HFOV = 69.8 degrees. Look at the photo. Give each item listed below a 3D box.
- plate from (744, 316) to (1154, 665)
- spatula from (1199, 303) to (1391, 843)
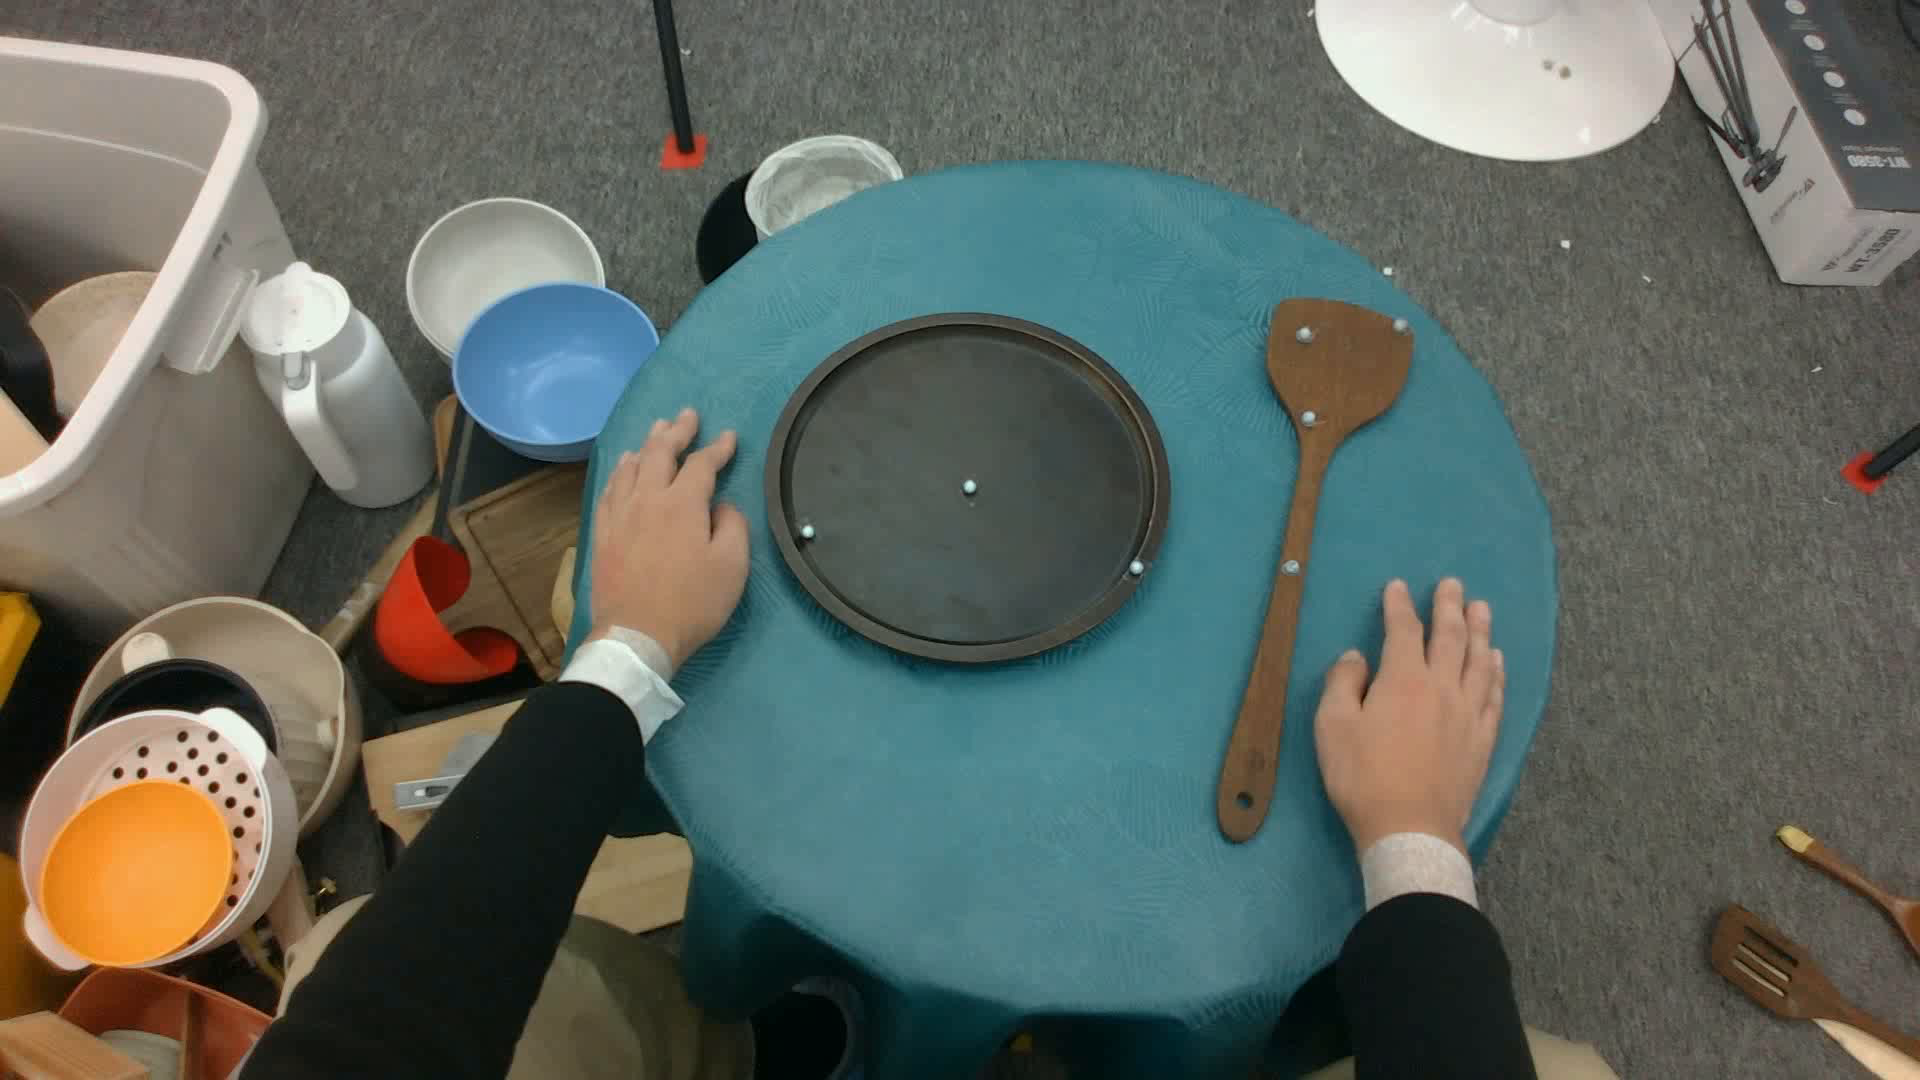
[{"bbox_3d":[-0.007,-0.036,0.856,0.255,0.029,0.256,2,60,-4],"label":"plate"},{"bbox_3d":[0.197,0.004,0.851,0.096,0.016,0.387,15,61,5],"label":"spatula"}]
